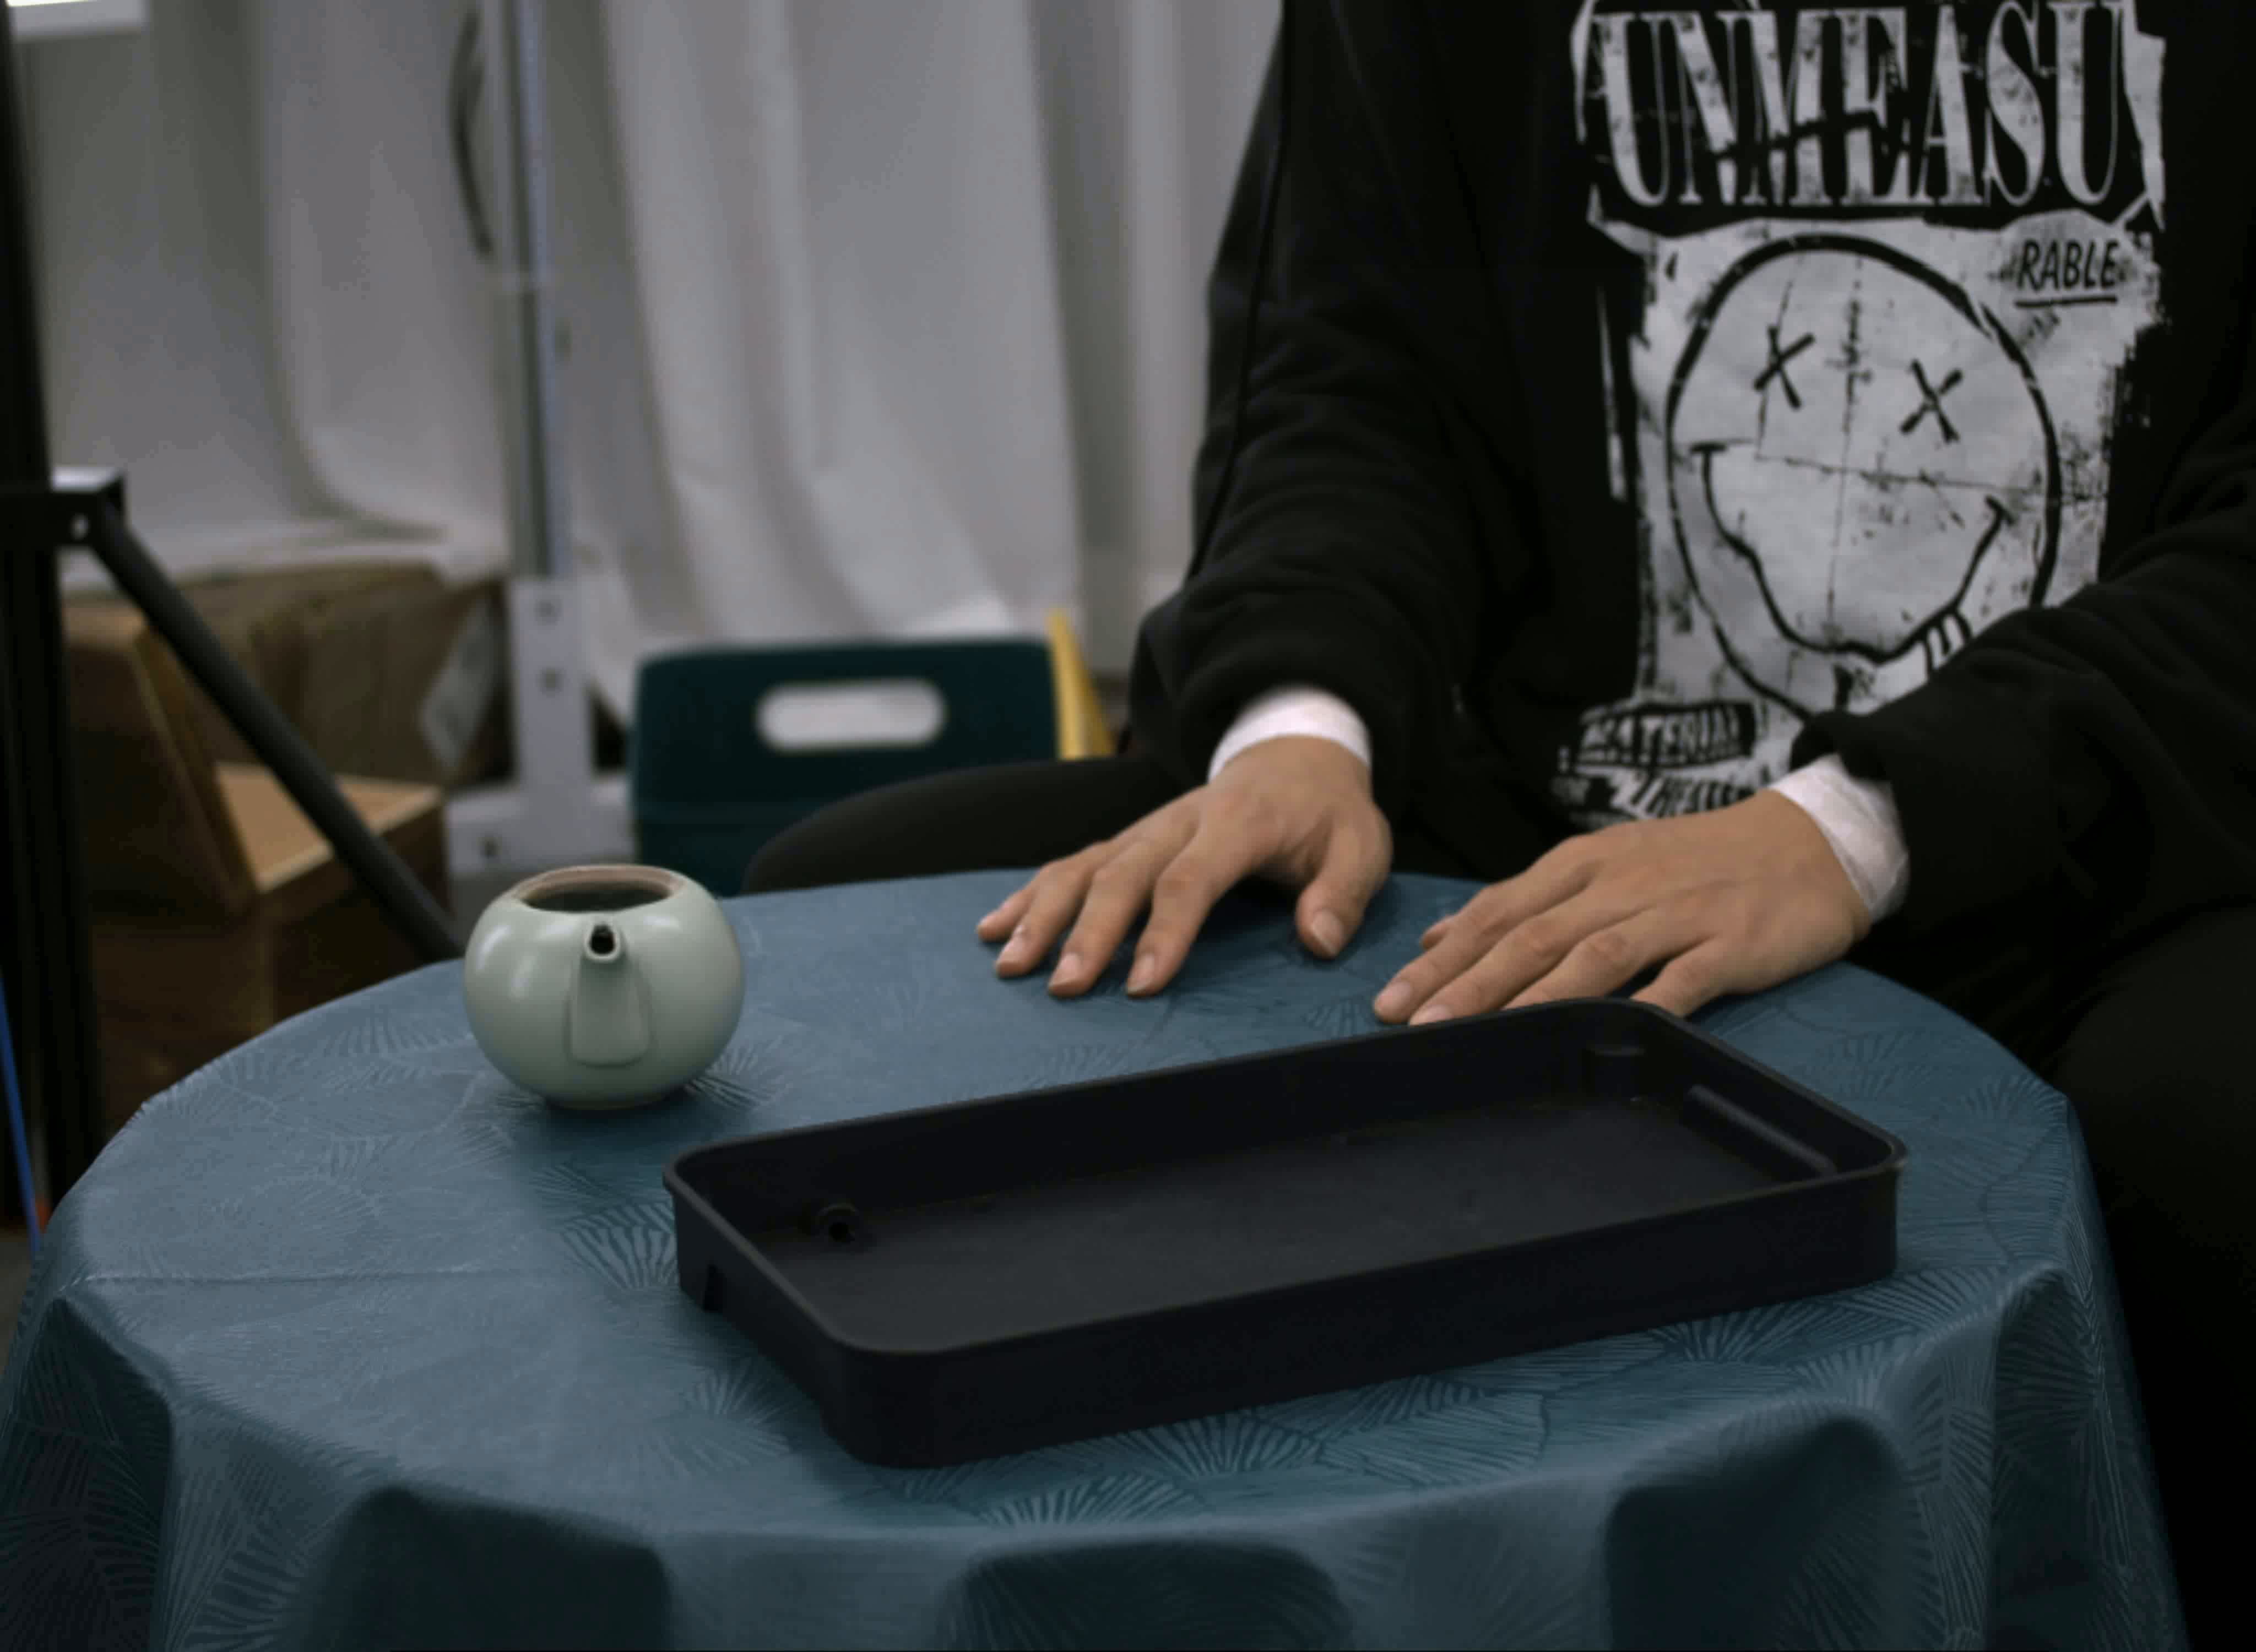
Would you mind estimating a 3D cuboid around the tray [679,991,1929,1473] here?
[{"bbox_3d":[0.049,0.108,1.480,0.312,0.037,0.188,-9,17,-22],"label":"tray"}]

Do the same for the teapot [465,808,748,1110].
[{"bbox_3d":[-0.162,0.048,1.663,0.088,0.074,0.145,-3,17,-3],"label":"teapot"}]
